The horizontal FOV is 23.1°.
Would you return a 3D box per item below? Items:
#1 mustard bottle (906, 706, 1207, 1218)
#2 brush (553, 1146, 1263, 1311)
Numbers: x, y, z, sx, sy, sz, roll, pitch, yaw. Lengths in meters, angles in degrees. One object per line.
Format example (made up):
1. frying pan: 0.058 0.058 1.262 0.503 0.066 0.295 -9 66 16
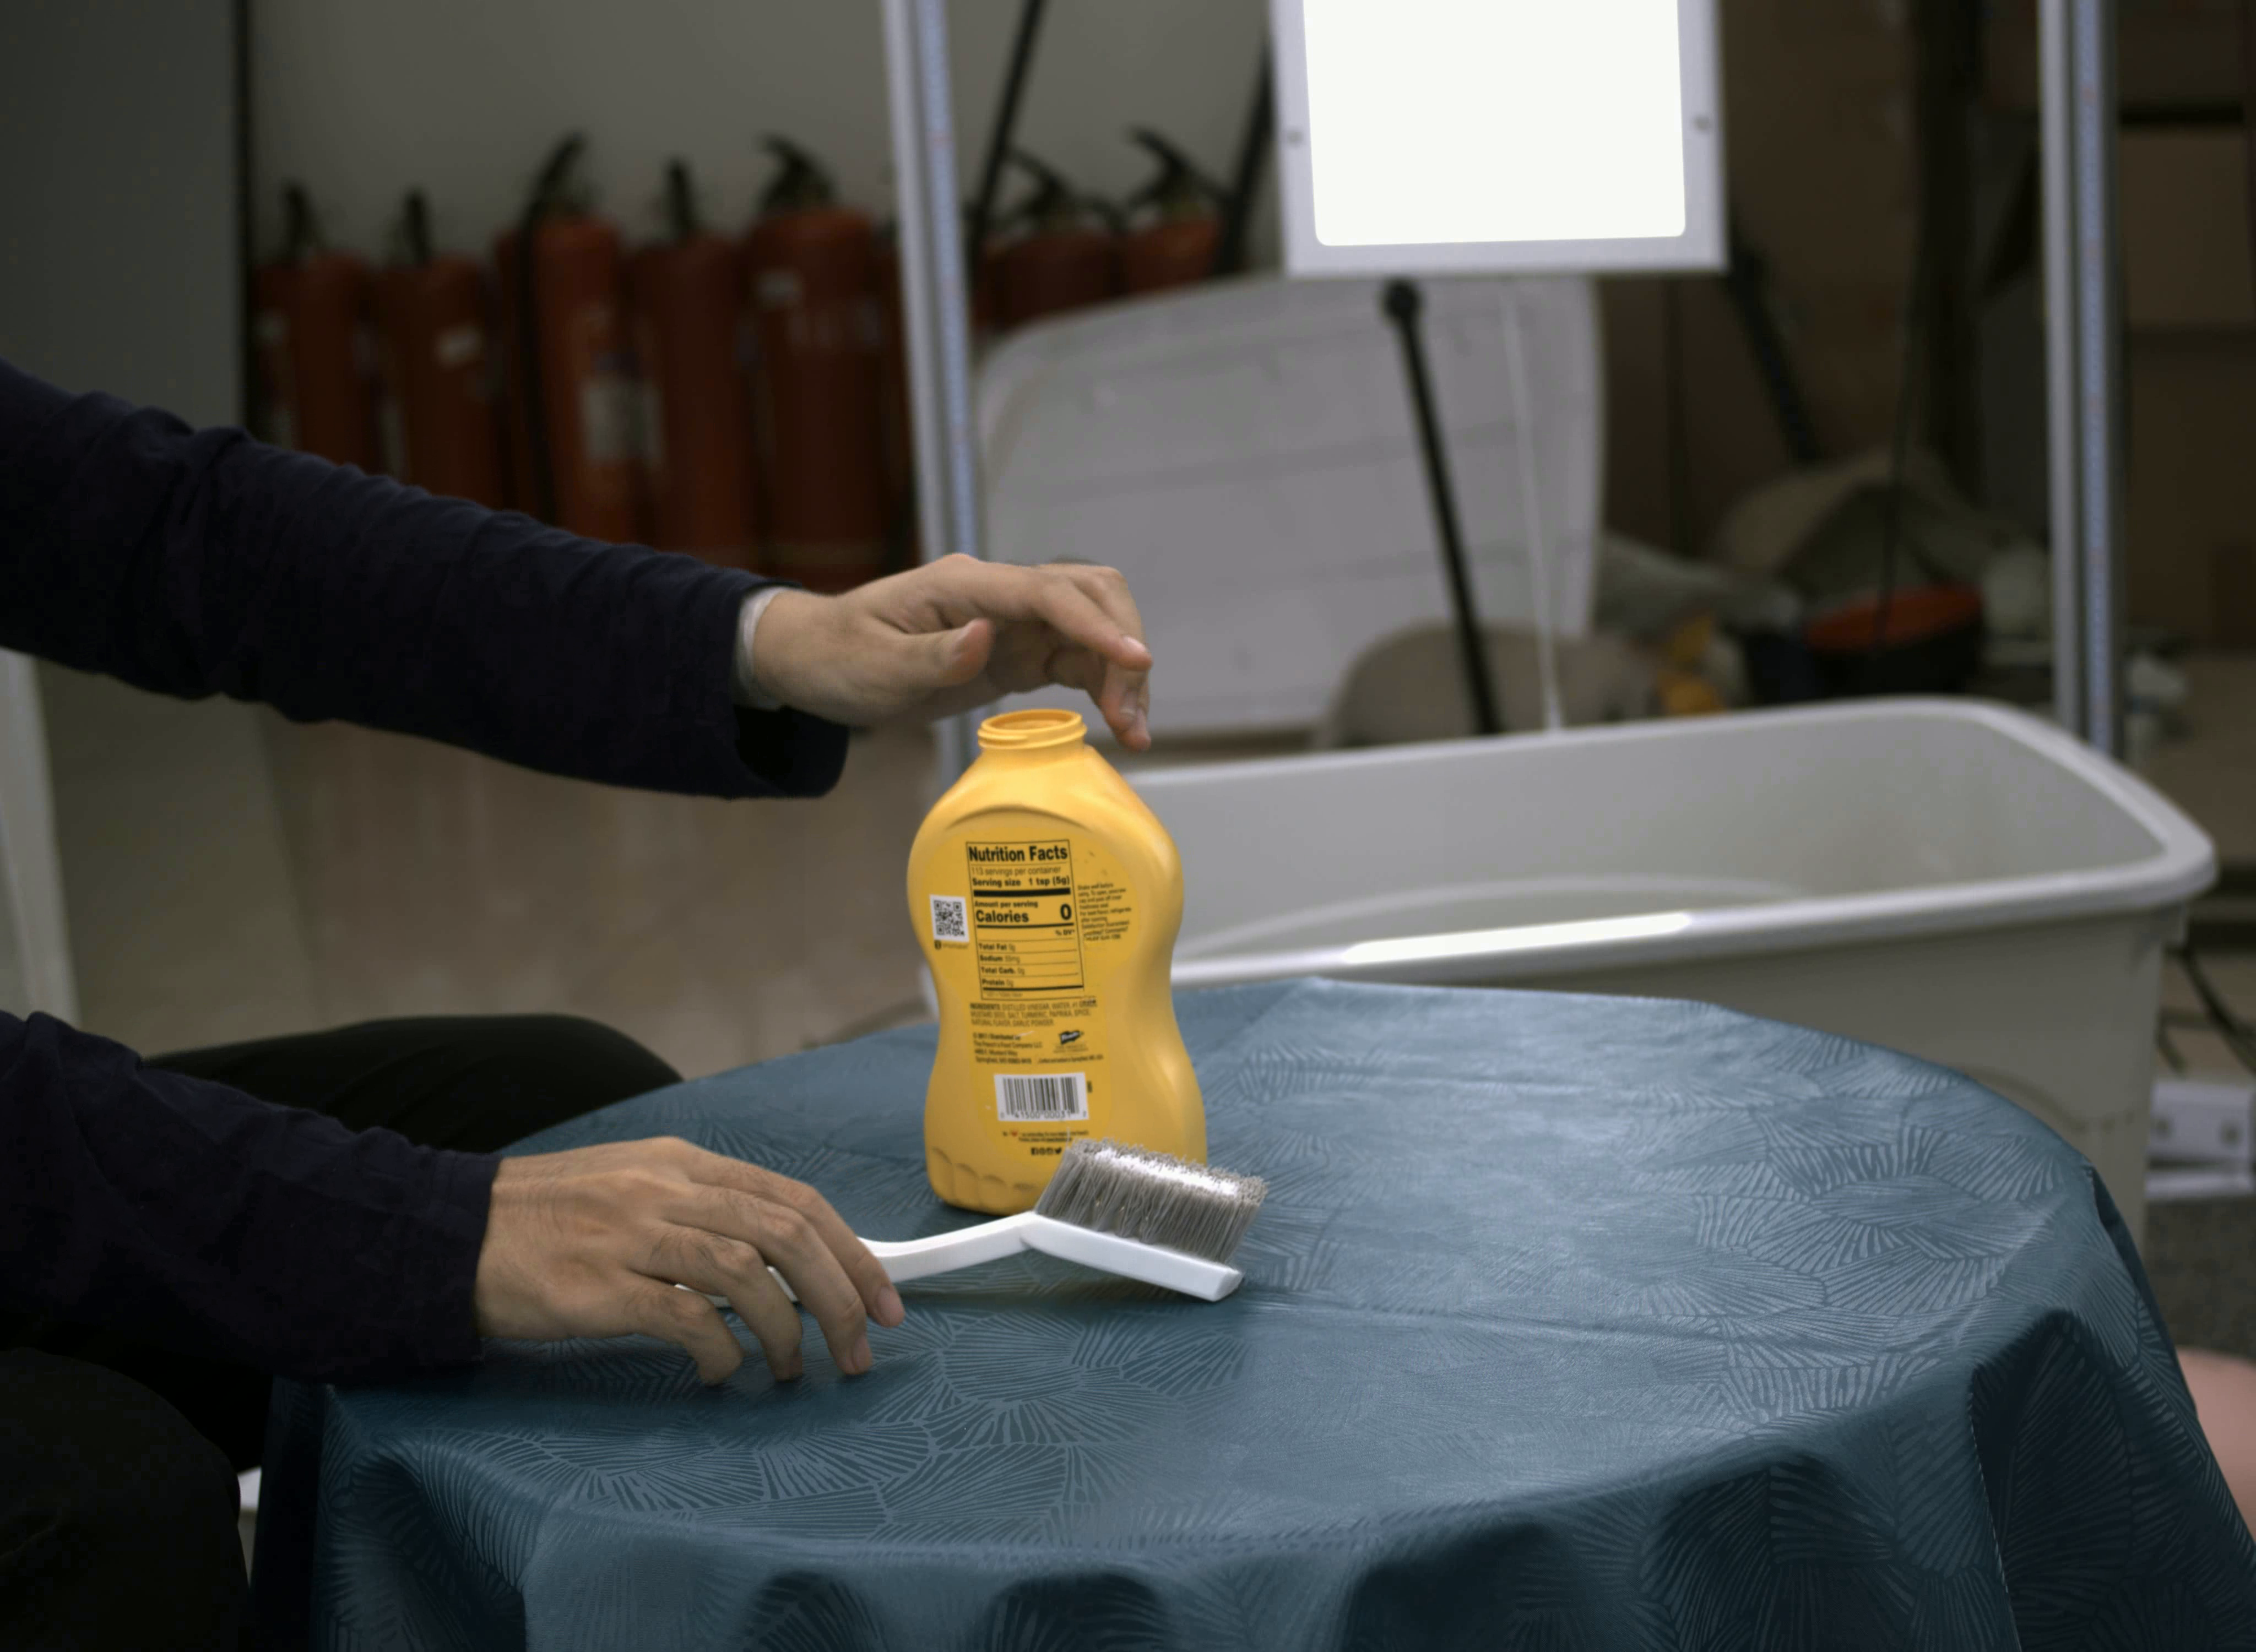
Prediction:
1. mustard bottle: -0.027 0.046 1.879 0.099 0.172 0.058 -3 11 16
2. brush: -0.075 0.131 1.809 0.246 0.050 0.034 -1 19 16
